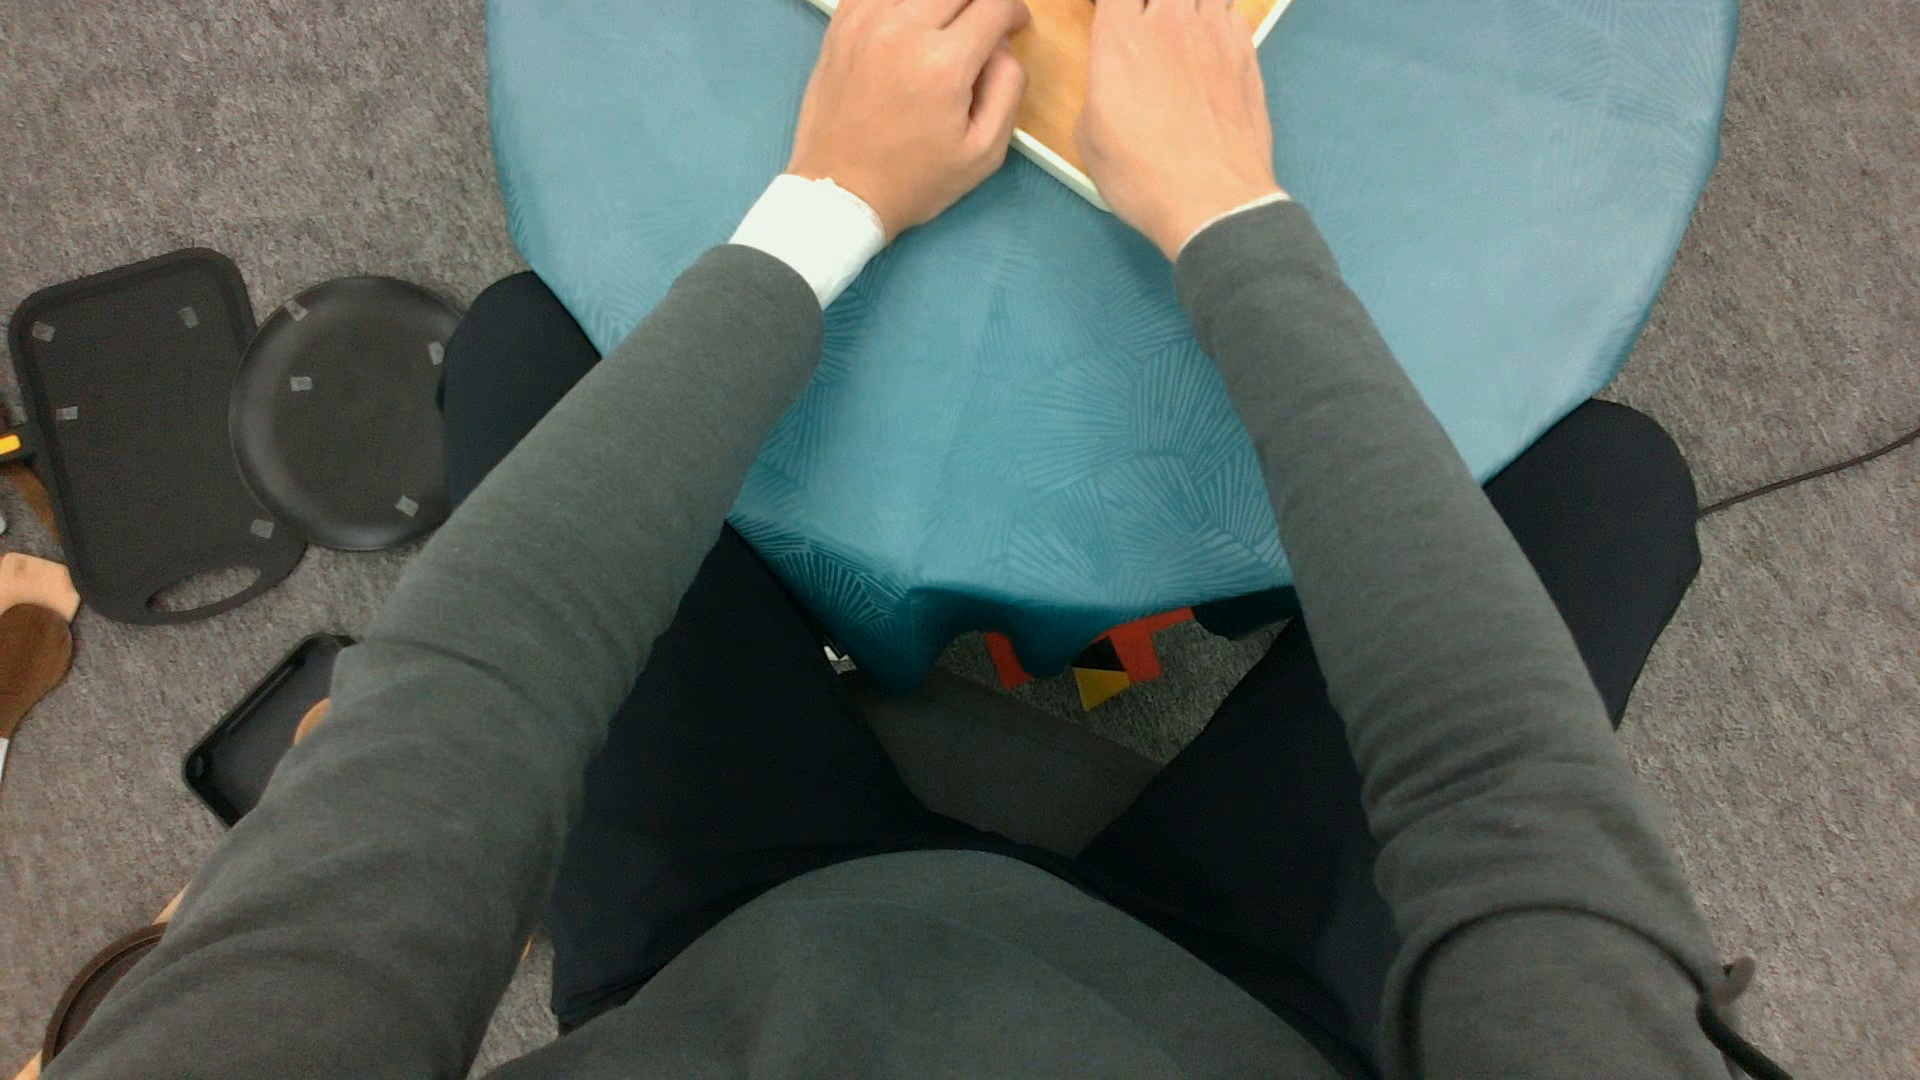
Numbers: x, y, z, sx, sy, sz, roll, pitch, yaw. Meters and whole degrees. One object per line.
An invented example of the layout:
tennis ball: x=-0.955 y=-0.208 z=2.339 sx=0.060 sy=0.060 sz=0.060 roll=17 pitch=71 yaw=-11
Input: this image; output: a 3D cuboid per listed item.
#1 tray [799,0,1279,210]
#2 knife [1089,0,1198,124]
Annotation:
tray: x=0.009 y=-0.313 z=0.655 sx=0.300 sy=0.027 sz=0.191 roll=36 pitch=90 yaw=3
knife: x=0.040 y=-0.292 z=0.627 sx=0.016 sy=0.024 sz=0.238 roll=-33 pitch=87 yaw=2
